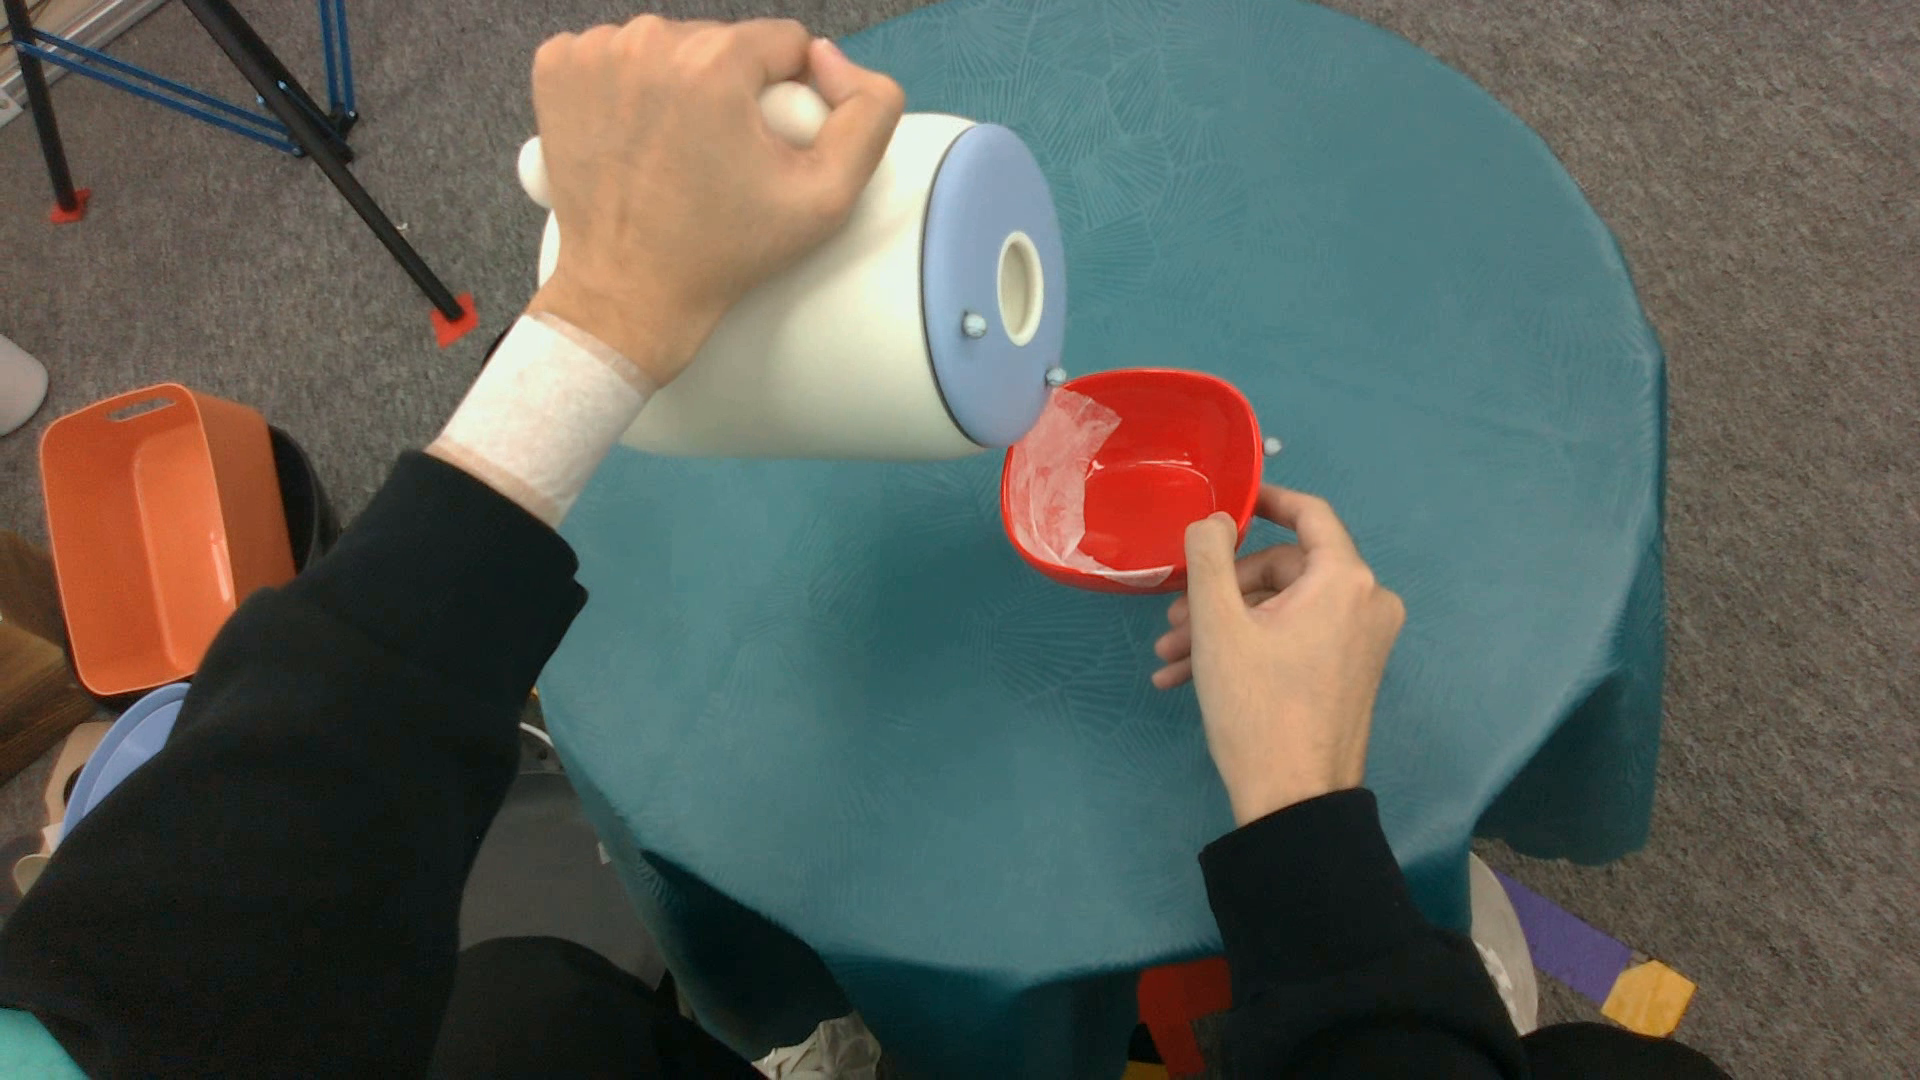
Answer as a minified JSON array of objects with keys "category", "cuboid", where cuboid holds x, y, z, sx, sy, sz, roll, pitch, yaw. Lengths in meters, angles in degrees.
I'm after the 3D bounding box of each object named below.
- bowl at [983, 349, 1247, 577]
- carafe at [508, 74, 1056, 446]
[{"category":"bowl","cuboid":[0.069,-0.025,0.595,0.119,0.051,0.119,-6,53,9]},{"category":"carafe","cuboid":[-0.073,-0.113,0.525,0.182,0.191,0.132,1,69,26]}]
